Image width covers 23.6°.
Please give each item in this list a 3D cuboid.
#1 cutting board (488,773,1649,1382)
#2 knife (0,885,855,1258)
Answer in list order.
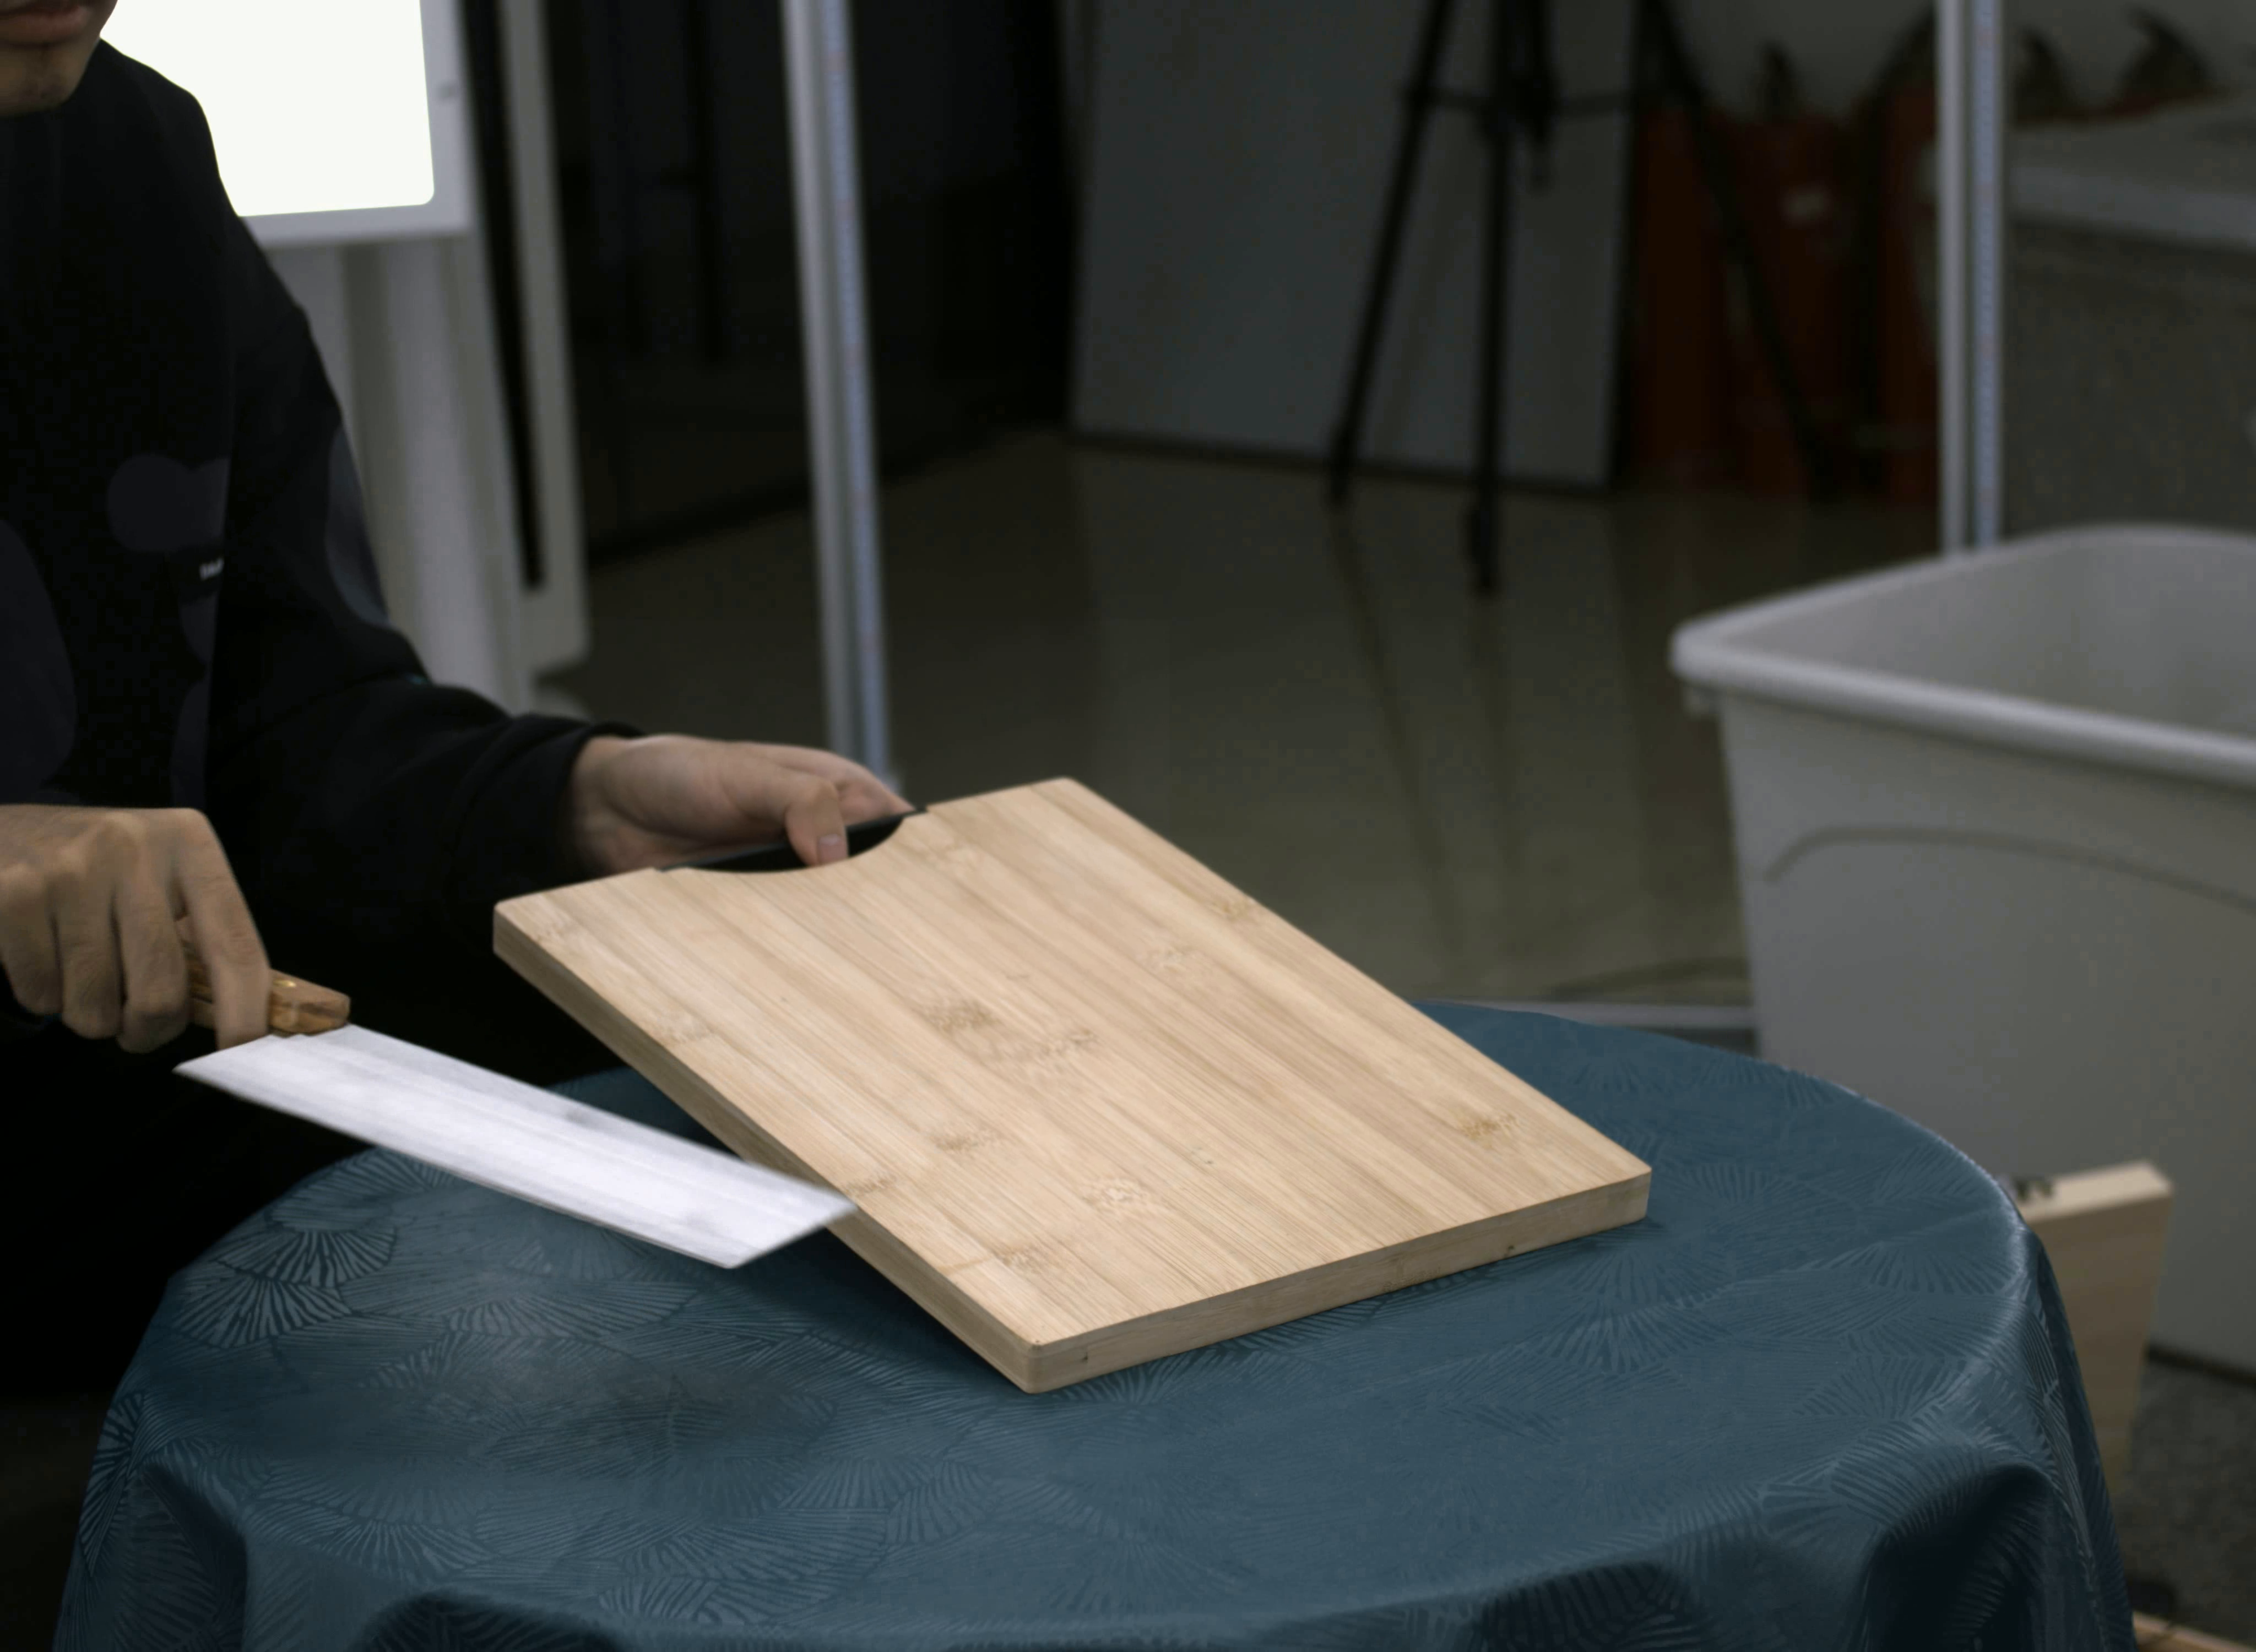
[{"bbox_3d":[-0.027,0.075,1.779,0.245,0.024,0.352,-13,29,-32],"label":"cutting board"},{"bbox_3d":[-0.228,0.076,1.635,0.306,0.021,0.092,19,12,20],"label":"knife"}]
